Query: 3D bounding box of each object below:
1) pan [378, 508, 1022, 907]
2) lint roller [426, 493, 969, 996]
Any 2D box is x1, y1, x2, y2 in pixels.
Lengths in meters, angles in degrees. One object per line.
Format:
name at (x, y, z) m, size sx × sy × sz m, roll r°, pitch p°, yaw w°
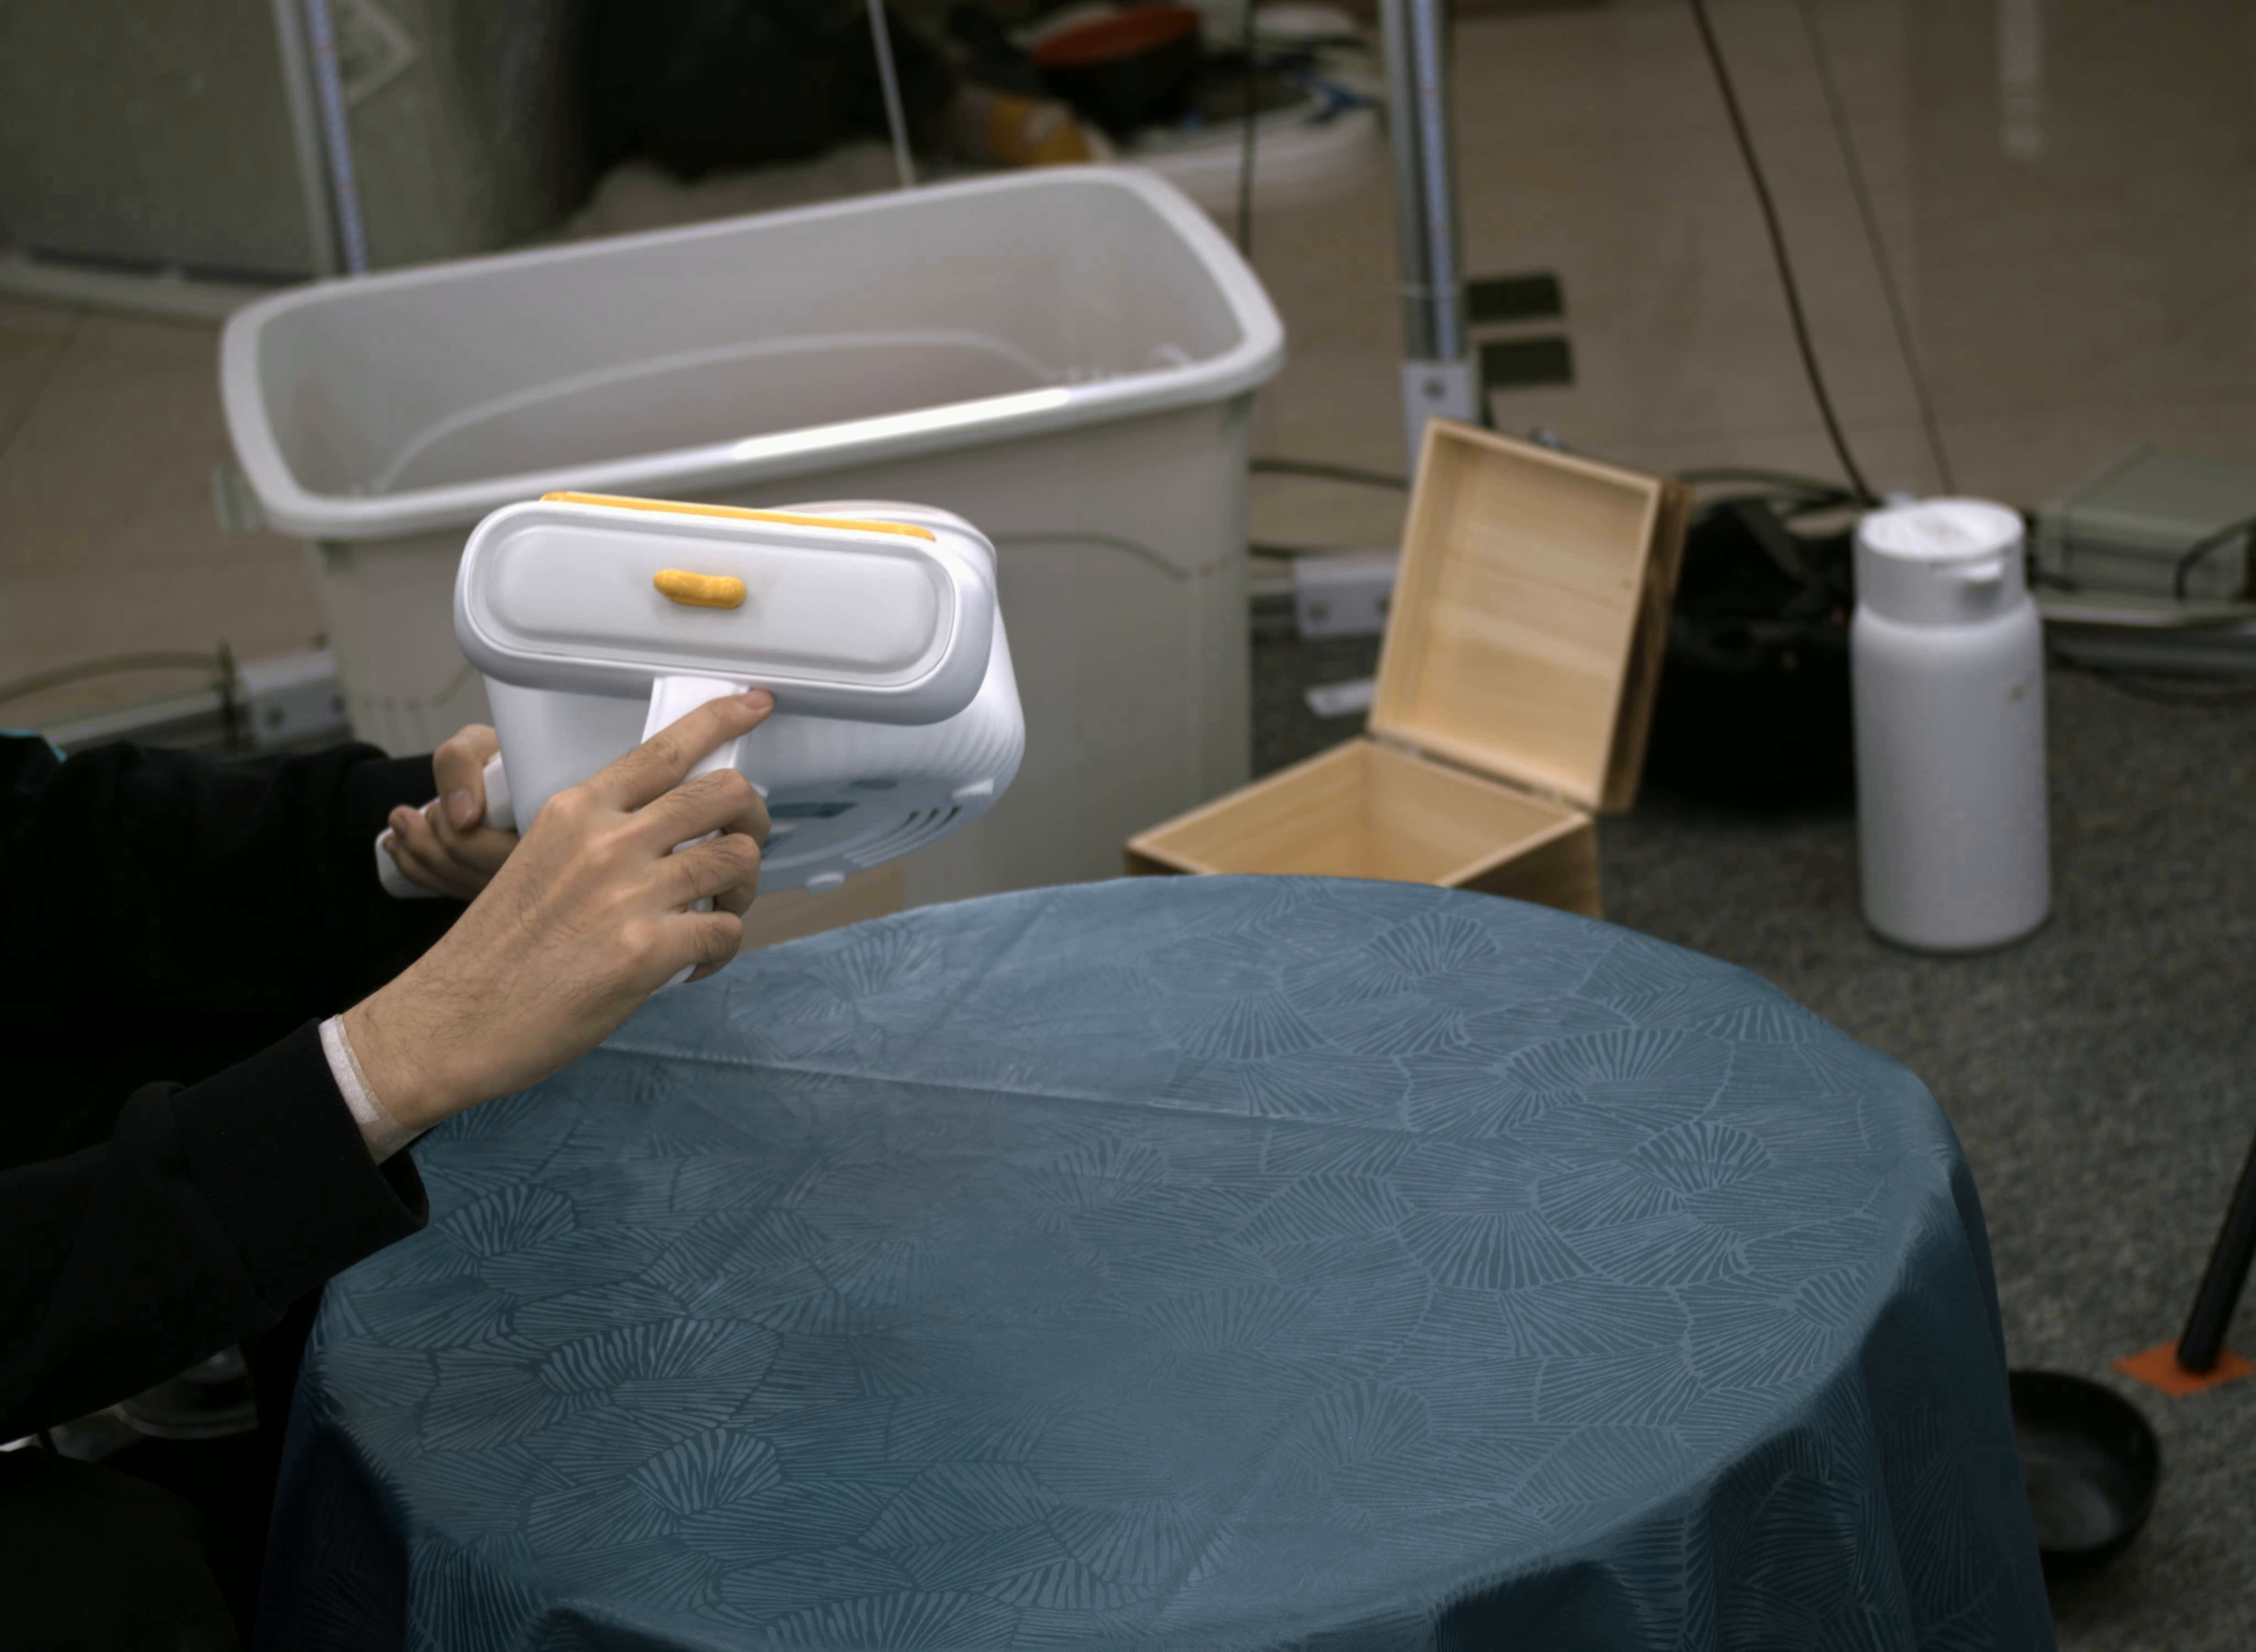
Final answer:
pan at (-0.184, -0.012, 2.180) m, size 0.201 × 0.101 × 0.357 m, roll -2°, pitch -18°, yaw -38°
lint roller at (-0.156, -0.026, 1.977) m, size 0.192 × 0.075 × 0.190 m, roll 4°, pitch 71°, yaw 1°
